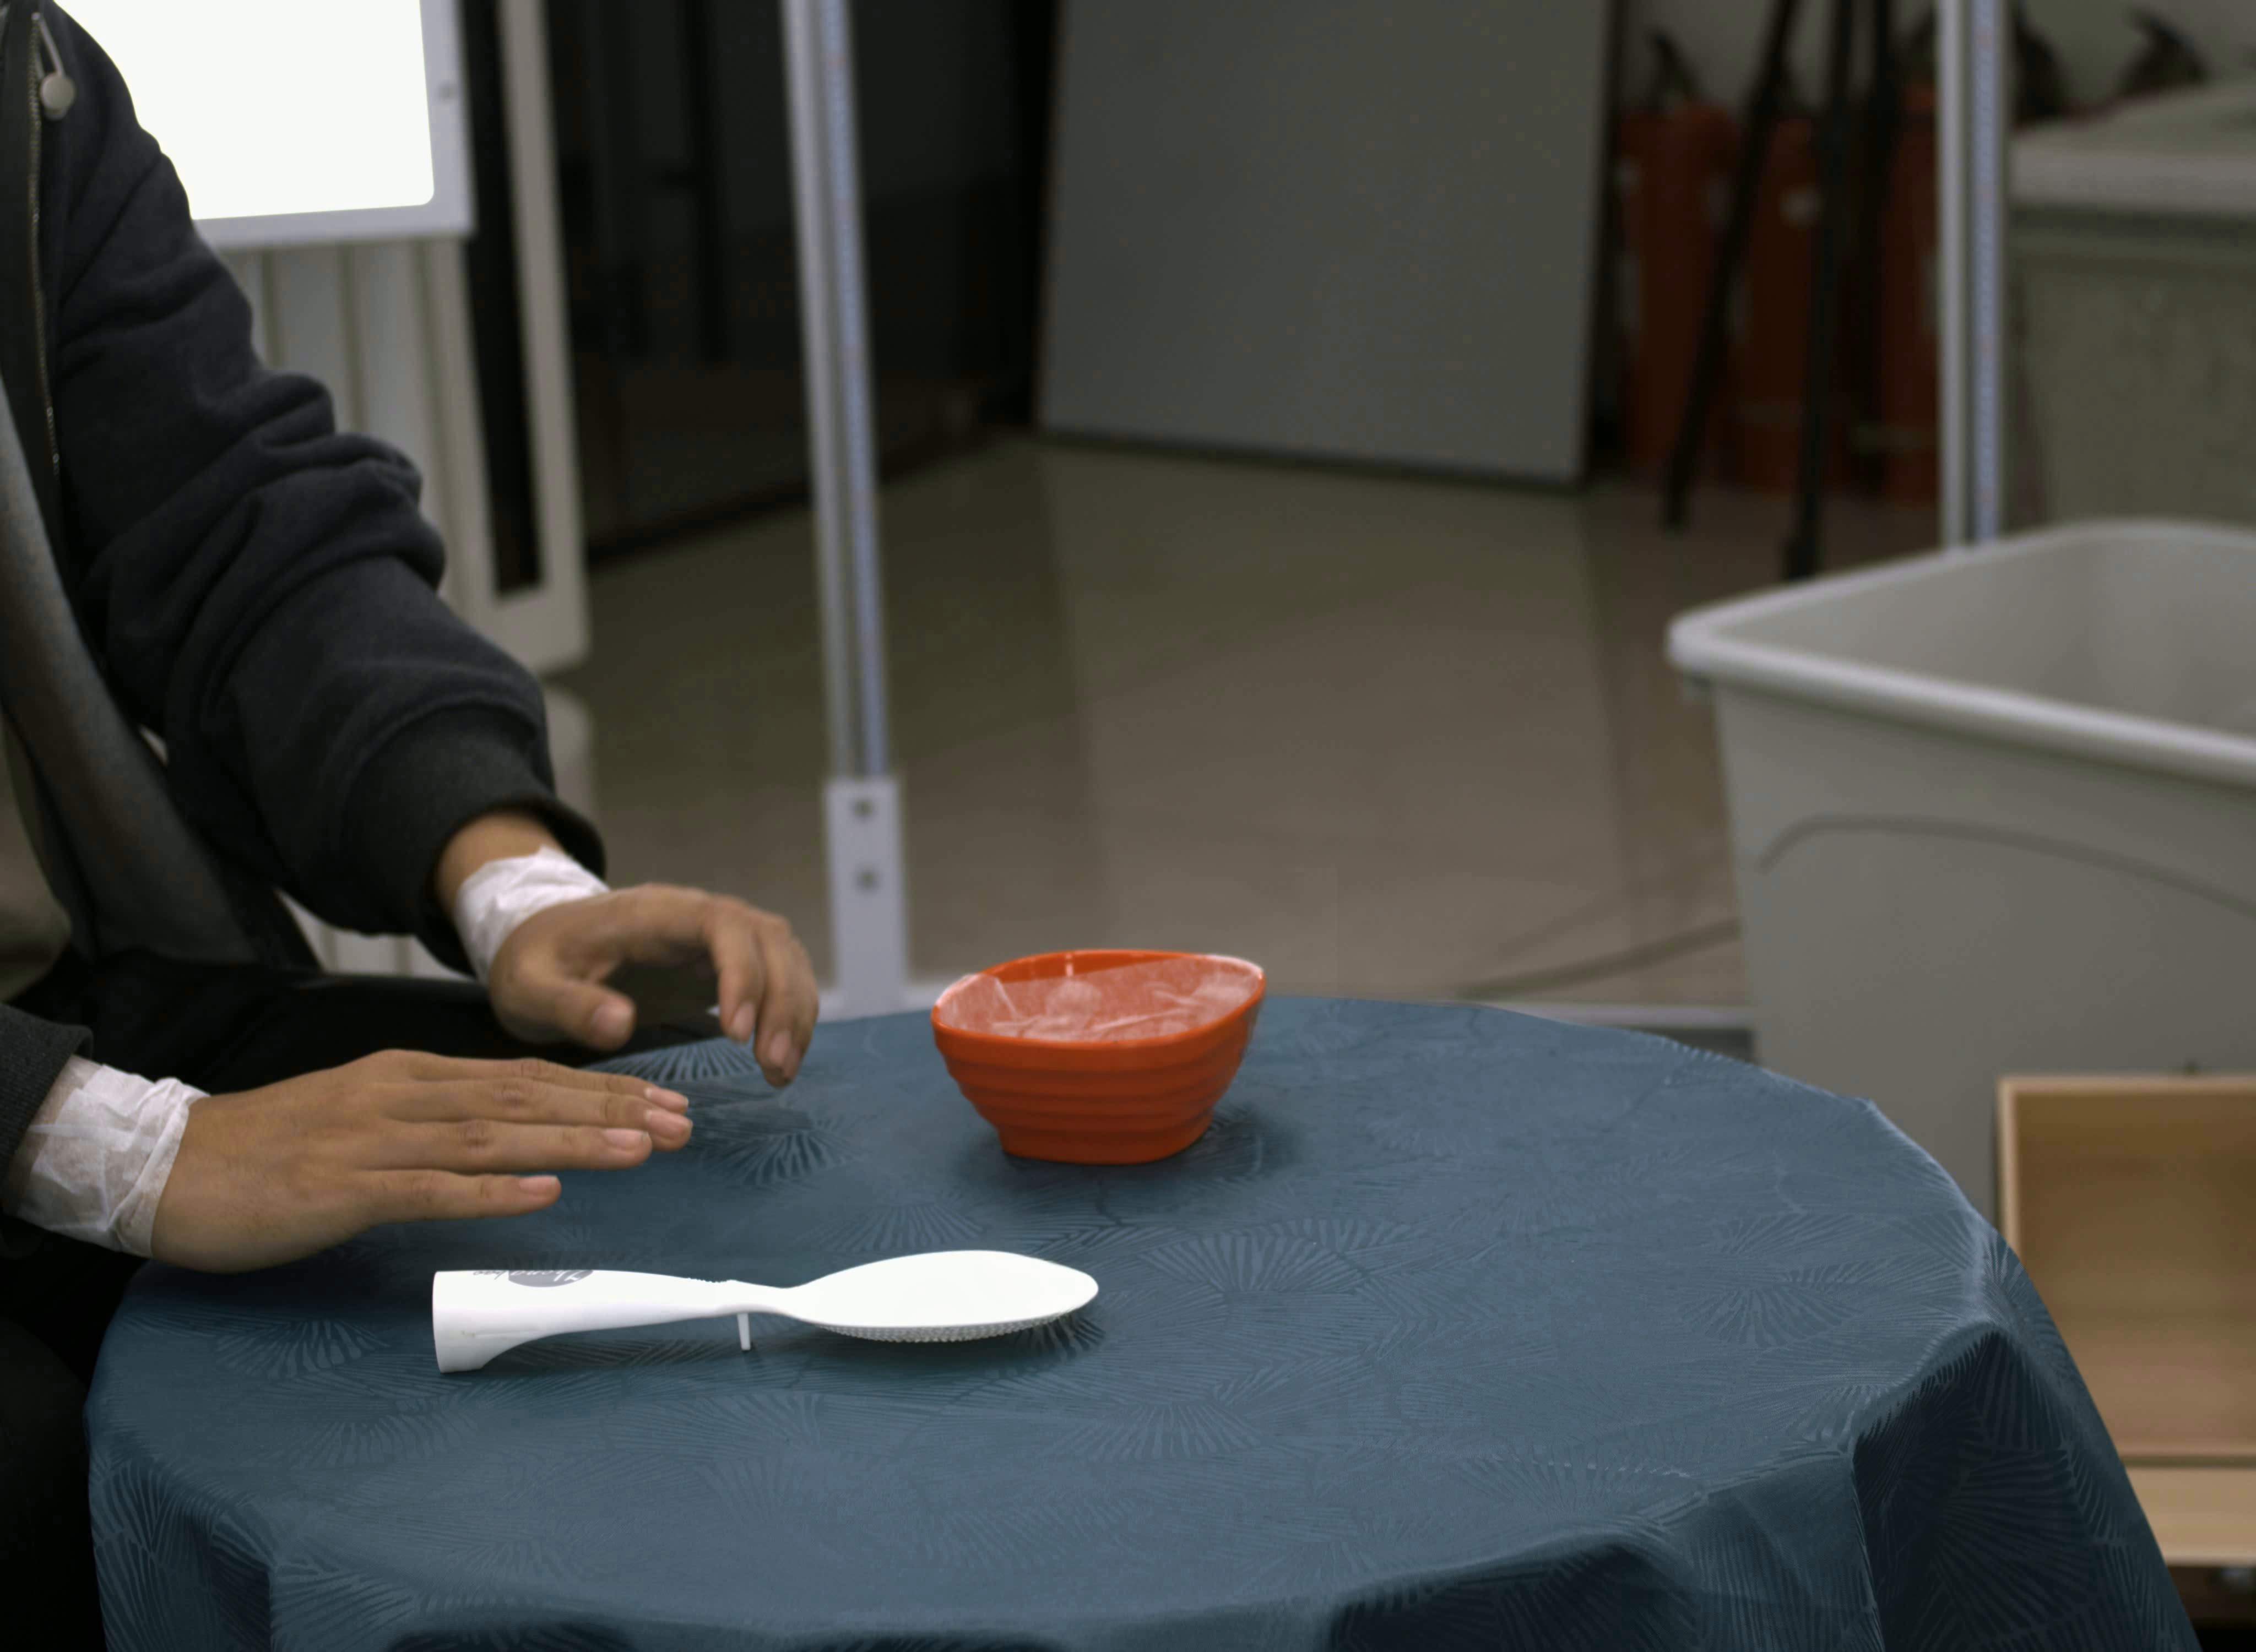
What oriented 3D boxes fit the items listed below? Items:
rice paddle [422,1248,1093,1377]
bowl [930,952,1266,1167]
[{"bbox_3d":[-0.111,0.144,1.642,0.202,0.030,0.069,-4,15,0],"label":"rice paddle"},{"bbox_3d":[-0.009,0.081,1.824,0.117,0.052,0.119,-3,14,0],"label":"bowl"}]
